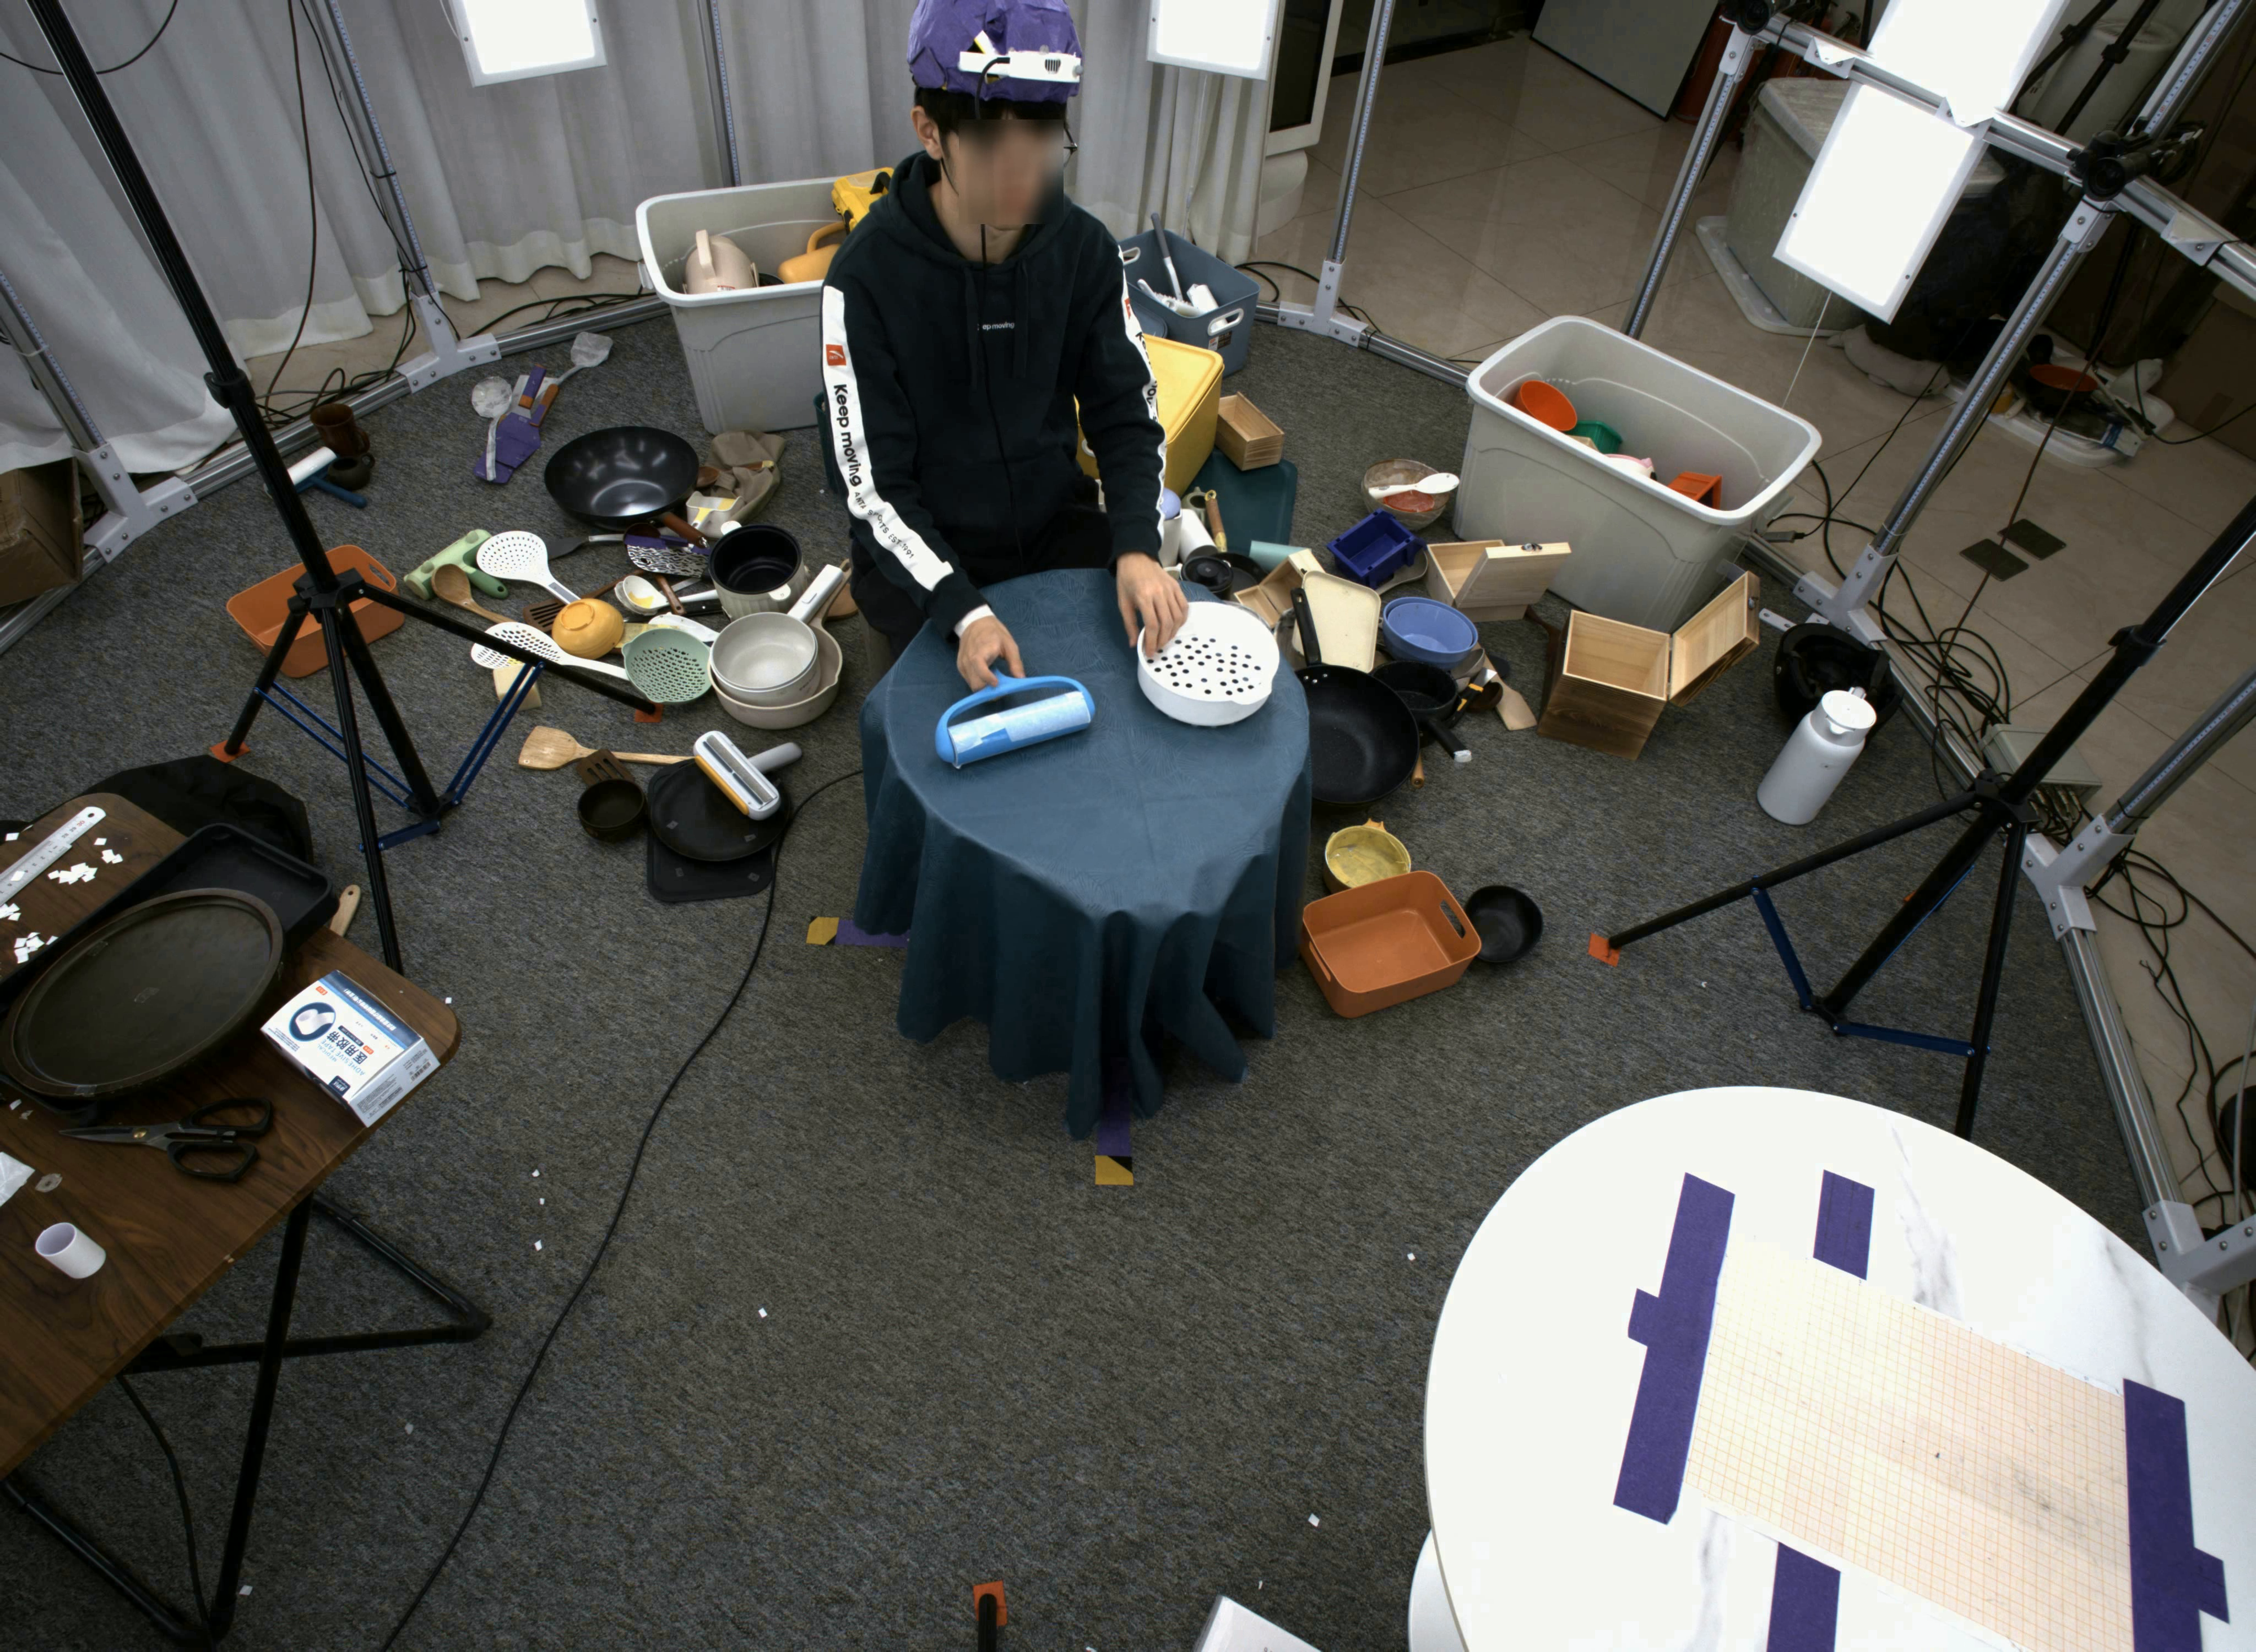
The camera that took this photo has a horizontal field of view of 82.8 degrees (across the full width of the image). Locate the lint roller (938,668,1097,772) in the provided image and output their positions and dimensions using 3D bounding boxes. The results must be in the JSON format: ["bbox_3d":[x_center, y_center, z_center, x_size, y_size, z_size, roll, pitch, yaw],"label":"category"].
[{"bbox_3d":[-0.176,-0.172,1.770,0.229,0.066,0.184,-23,55,-19],"label":"lint roller"}]

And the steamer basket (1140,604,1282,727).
[{"bbox_3d":[0.115,-0.227,1.828,0.203,0.067,0.235,-28,55,-25],"label":"steamer basket"}]
